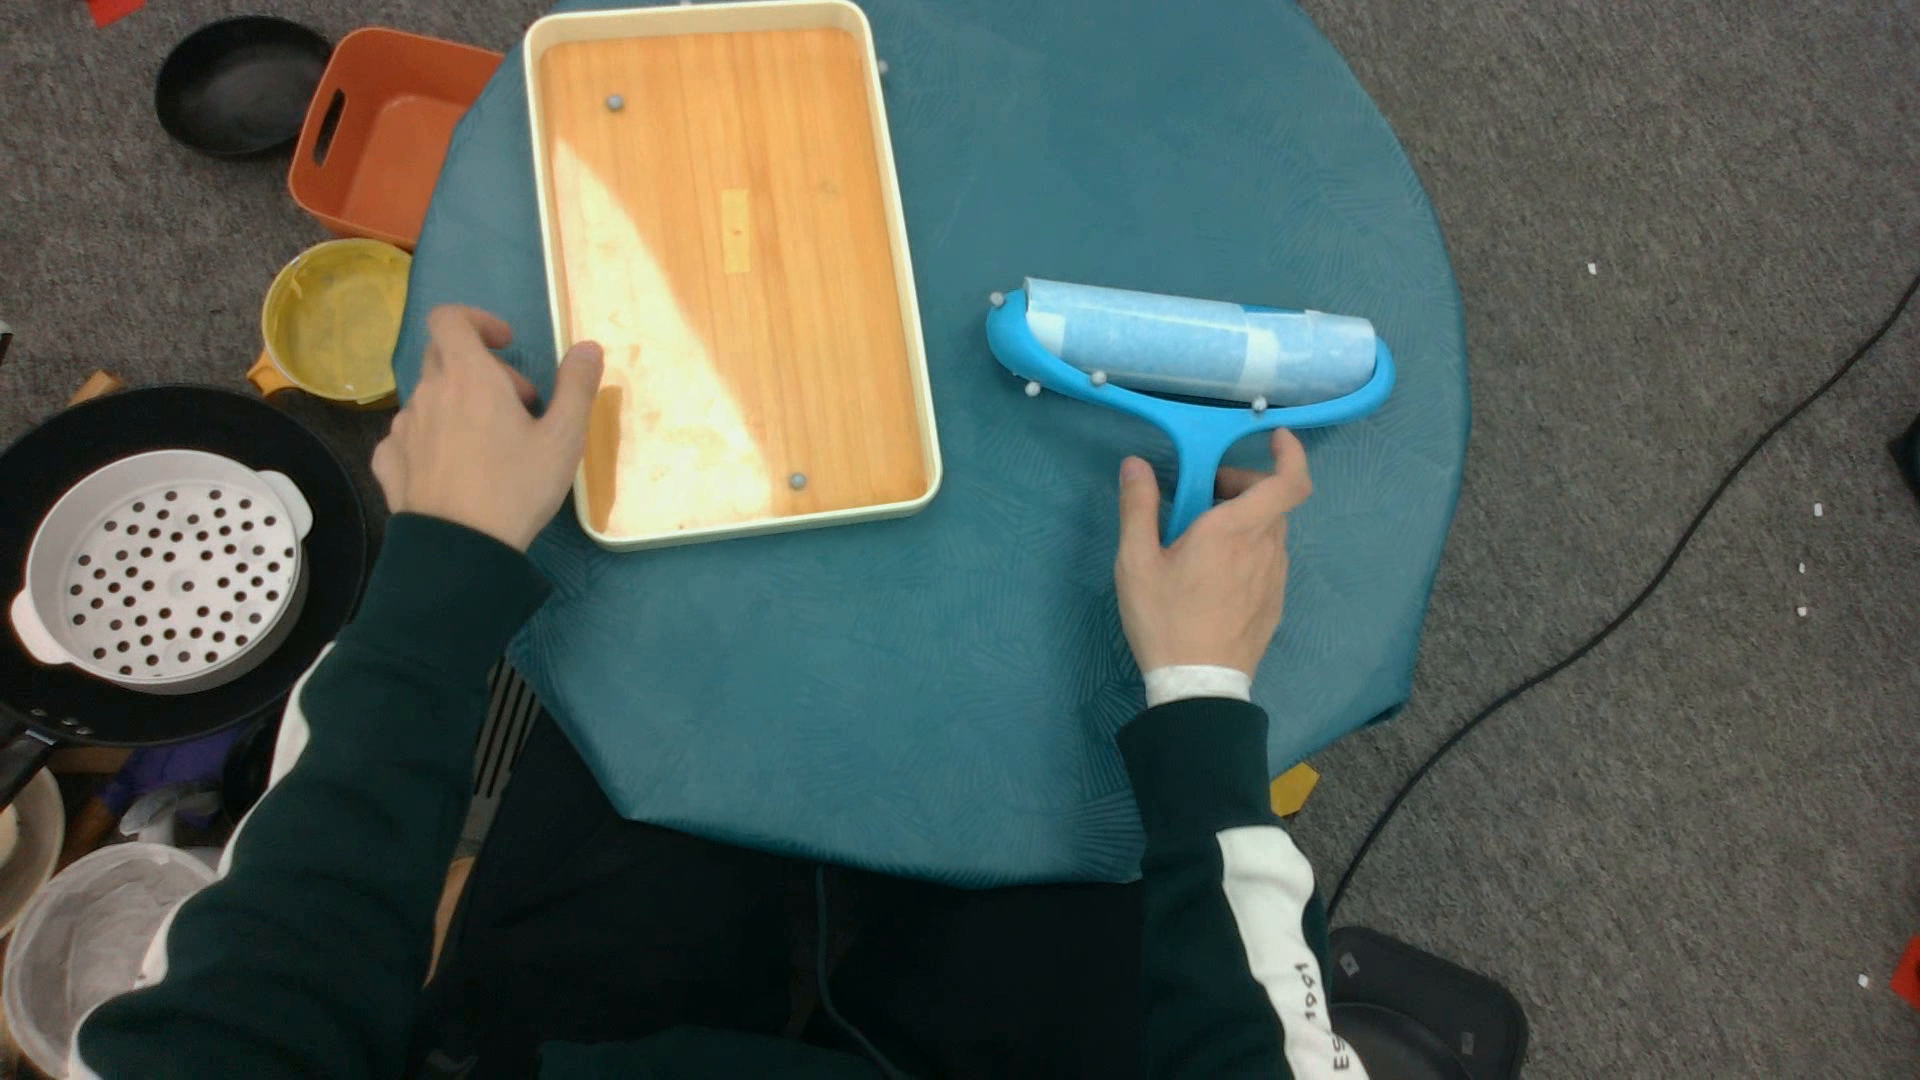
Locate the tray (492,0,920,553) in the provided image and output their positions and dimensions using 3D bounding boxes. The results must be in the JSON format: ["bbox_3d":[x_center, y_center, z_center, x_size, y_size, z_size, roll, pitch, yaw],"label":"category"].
[{"bbox_3d":[-0.139,-0.151,0.749,0.192,0.027,0.300,-9,79,-10],"label":"tray"}]

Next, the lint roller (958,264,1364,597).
[{"bbox_3d":[0.115,-0.063,0.751,0.229,0.068,0.180,1,76,-10],"label":"lint roller"}]
